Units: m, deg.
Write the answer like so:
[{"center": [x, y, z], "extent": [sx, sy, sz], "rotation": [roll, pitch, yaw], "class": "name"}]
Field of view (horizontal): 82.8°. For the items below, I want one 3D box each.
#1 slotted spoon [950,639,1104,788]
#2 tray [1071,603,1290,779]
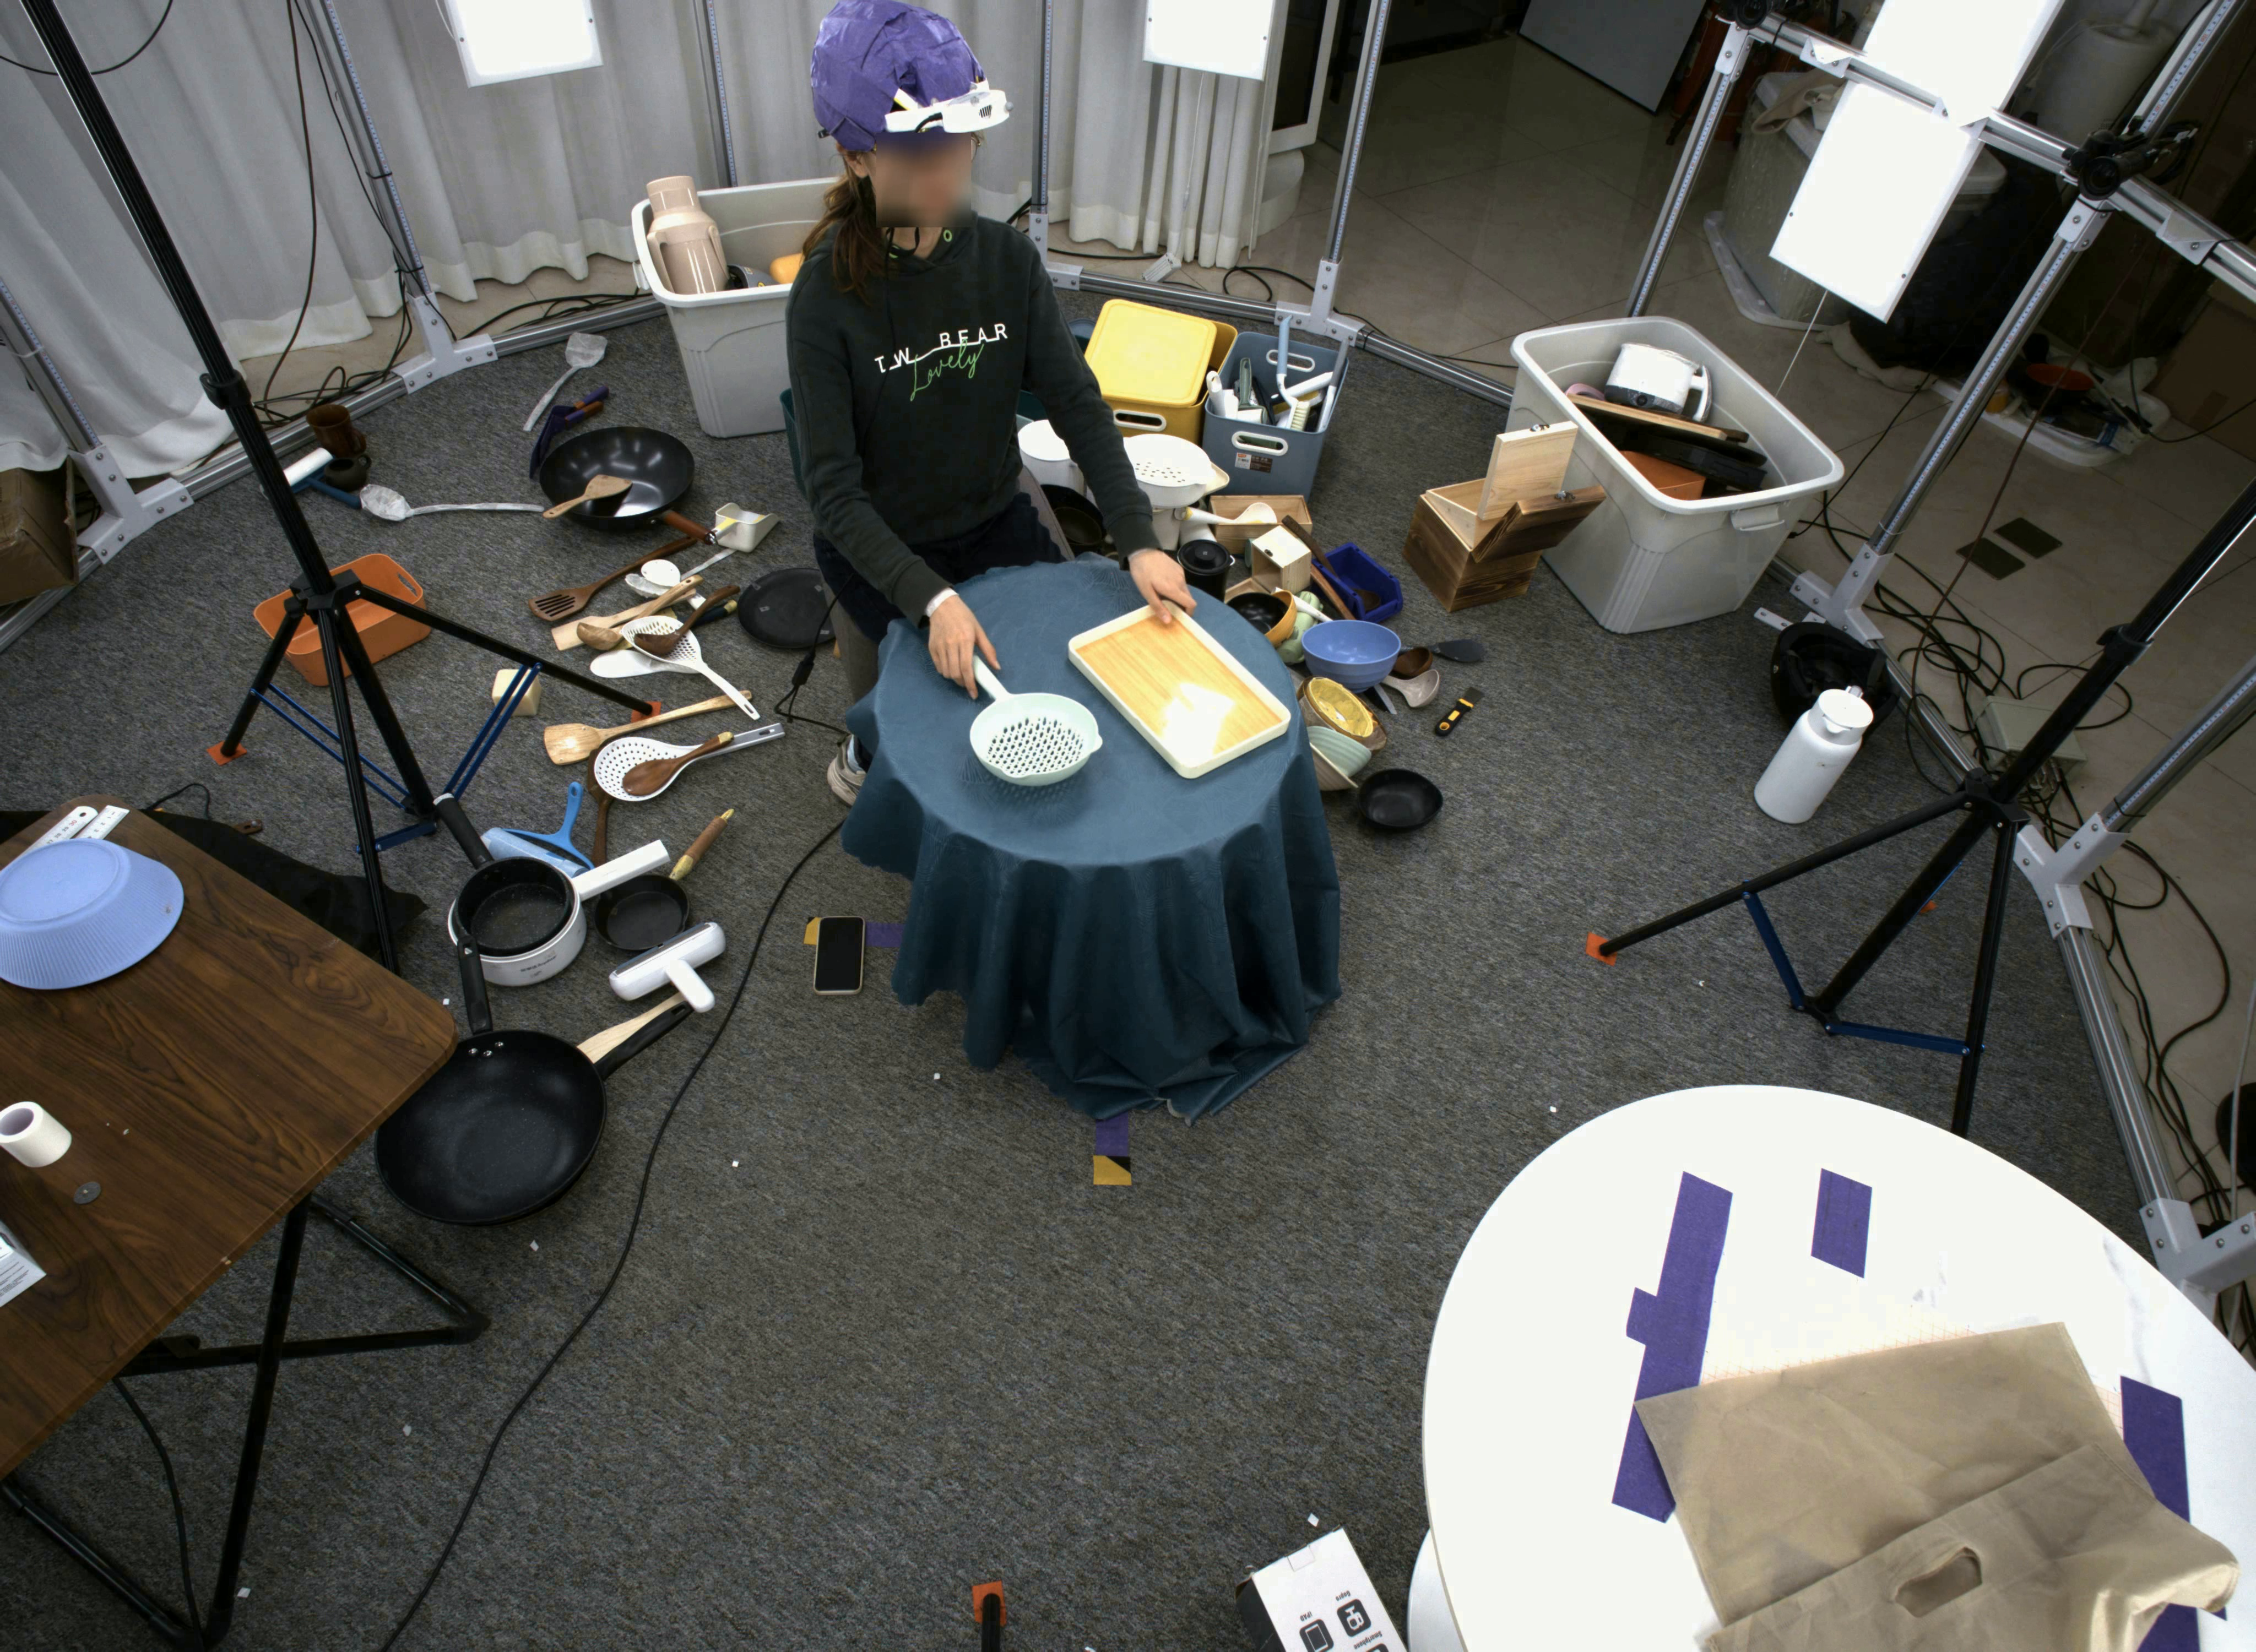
[{"center": [-0.170, -0.172, 1.781], "extent": [0.170, 0.073, 0.366], "rotation": [-20, 53, -21], "class": "slotted spoon"}, {"center": [0.072, -0.201, 1.847], "extent": [0.192, 0.027, 0.306], "rotation": [-26, 56, -24], "class": "tray"}]
